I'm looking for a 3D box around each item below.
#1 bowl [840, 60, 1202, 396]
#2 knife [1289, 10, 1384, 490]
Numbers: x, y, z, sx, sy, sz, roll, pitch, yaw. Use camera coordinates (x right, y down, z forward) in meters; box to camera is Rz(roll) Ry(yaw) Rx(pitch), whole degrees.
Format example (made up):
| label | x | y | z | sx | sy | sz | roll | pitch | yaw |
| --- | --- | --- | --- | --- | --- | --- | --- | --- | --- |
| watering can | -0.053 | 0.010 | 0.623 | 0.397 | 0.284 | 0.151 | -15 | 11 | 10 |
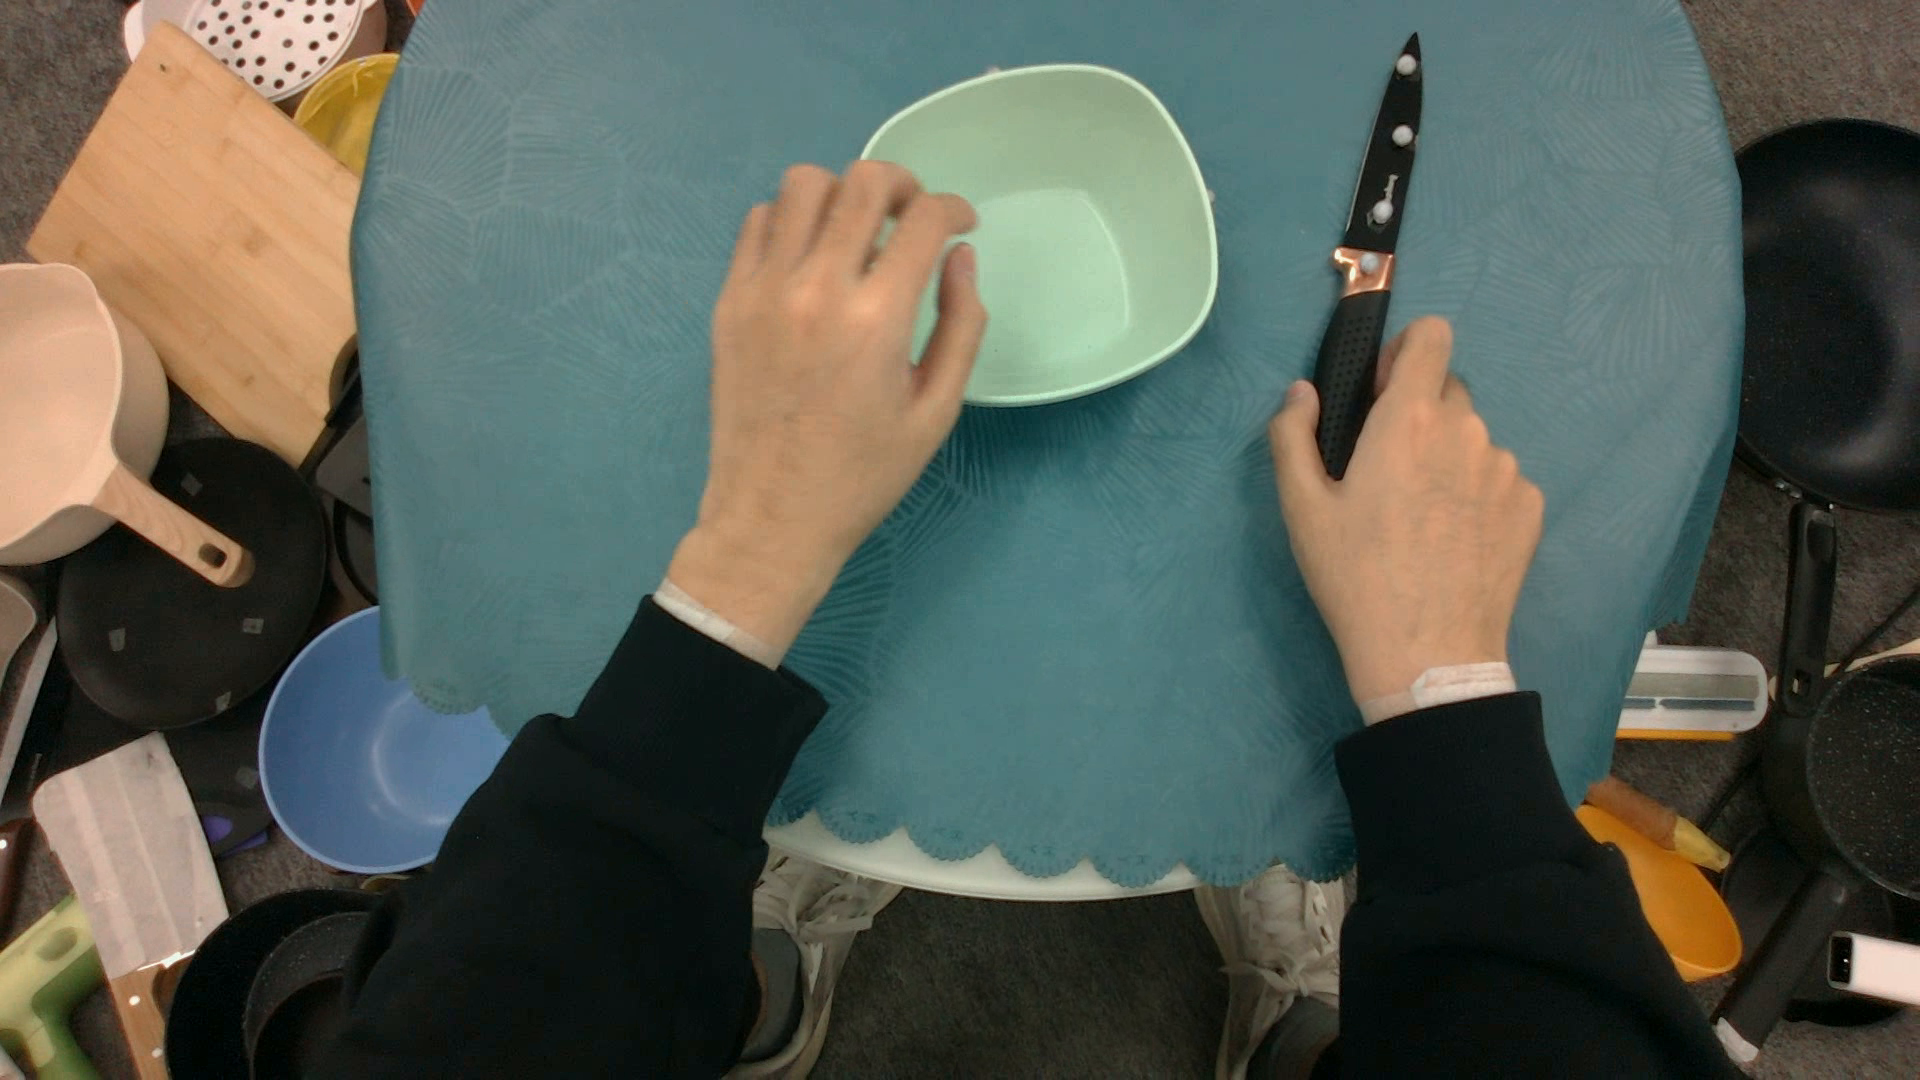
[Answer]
| label | x | y | z | sx | sy | sz | roll | pitch | yaw |
| --- | --- | --- | --- | --- | --- | --- | --- | --- | --- |
| bowl | 0.024 | -0.119 | 0.565 | 0.151 | 0.058 | 0.152 | 0 | 76 | 0 |
| knife | 0.165 | -0.128 | 0.587 | 0.026 | 0.017 | 0.226 | 10 | 76 | 11 |
